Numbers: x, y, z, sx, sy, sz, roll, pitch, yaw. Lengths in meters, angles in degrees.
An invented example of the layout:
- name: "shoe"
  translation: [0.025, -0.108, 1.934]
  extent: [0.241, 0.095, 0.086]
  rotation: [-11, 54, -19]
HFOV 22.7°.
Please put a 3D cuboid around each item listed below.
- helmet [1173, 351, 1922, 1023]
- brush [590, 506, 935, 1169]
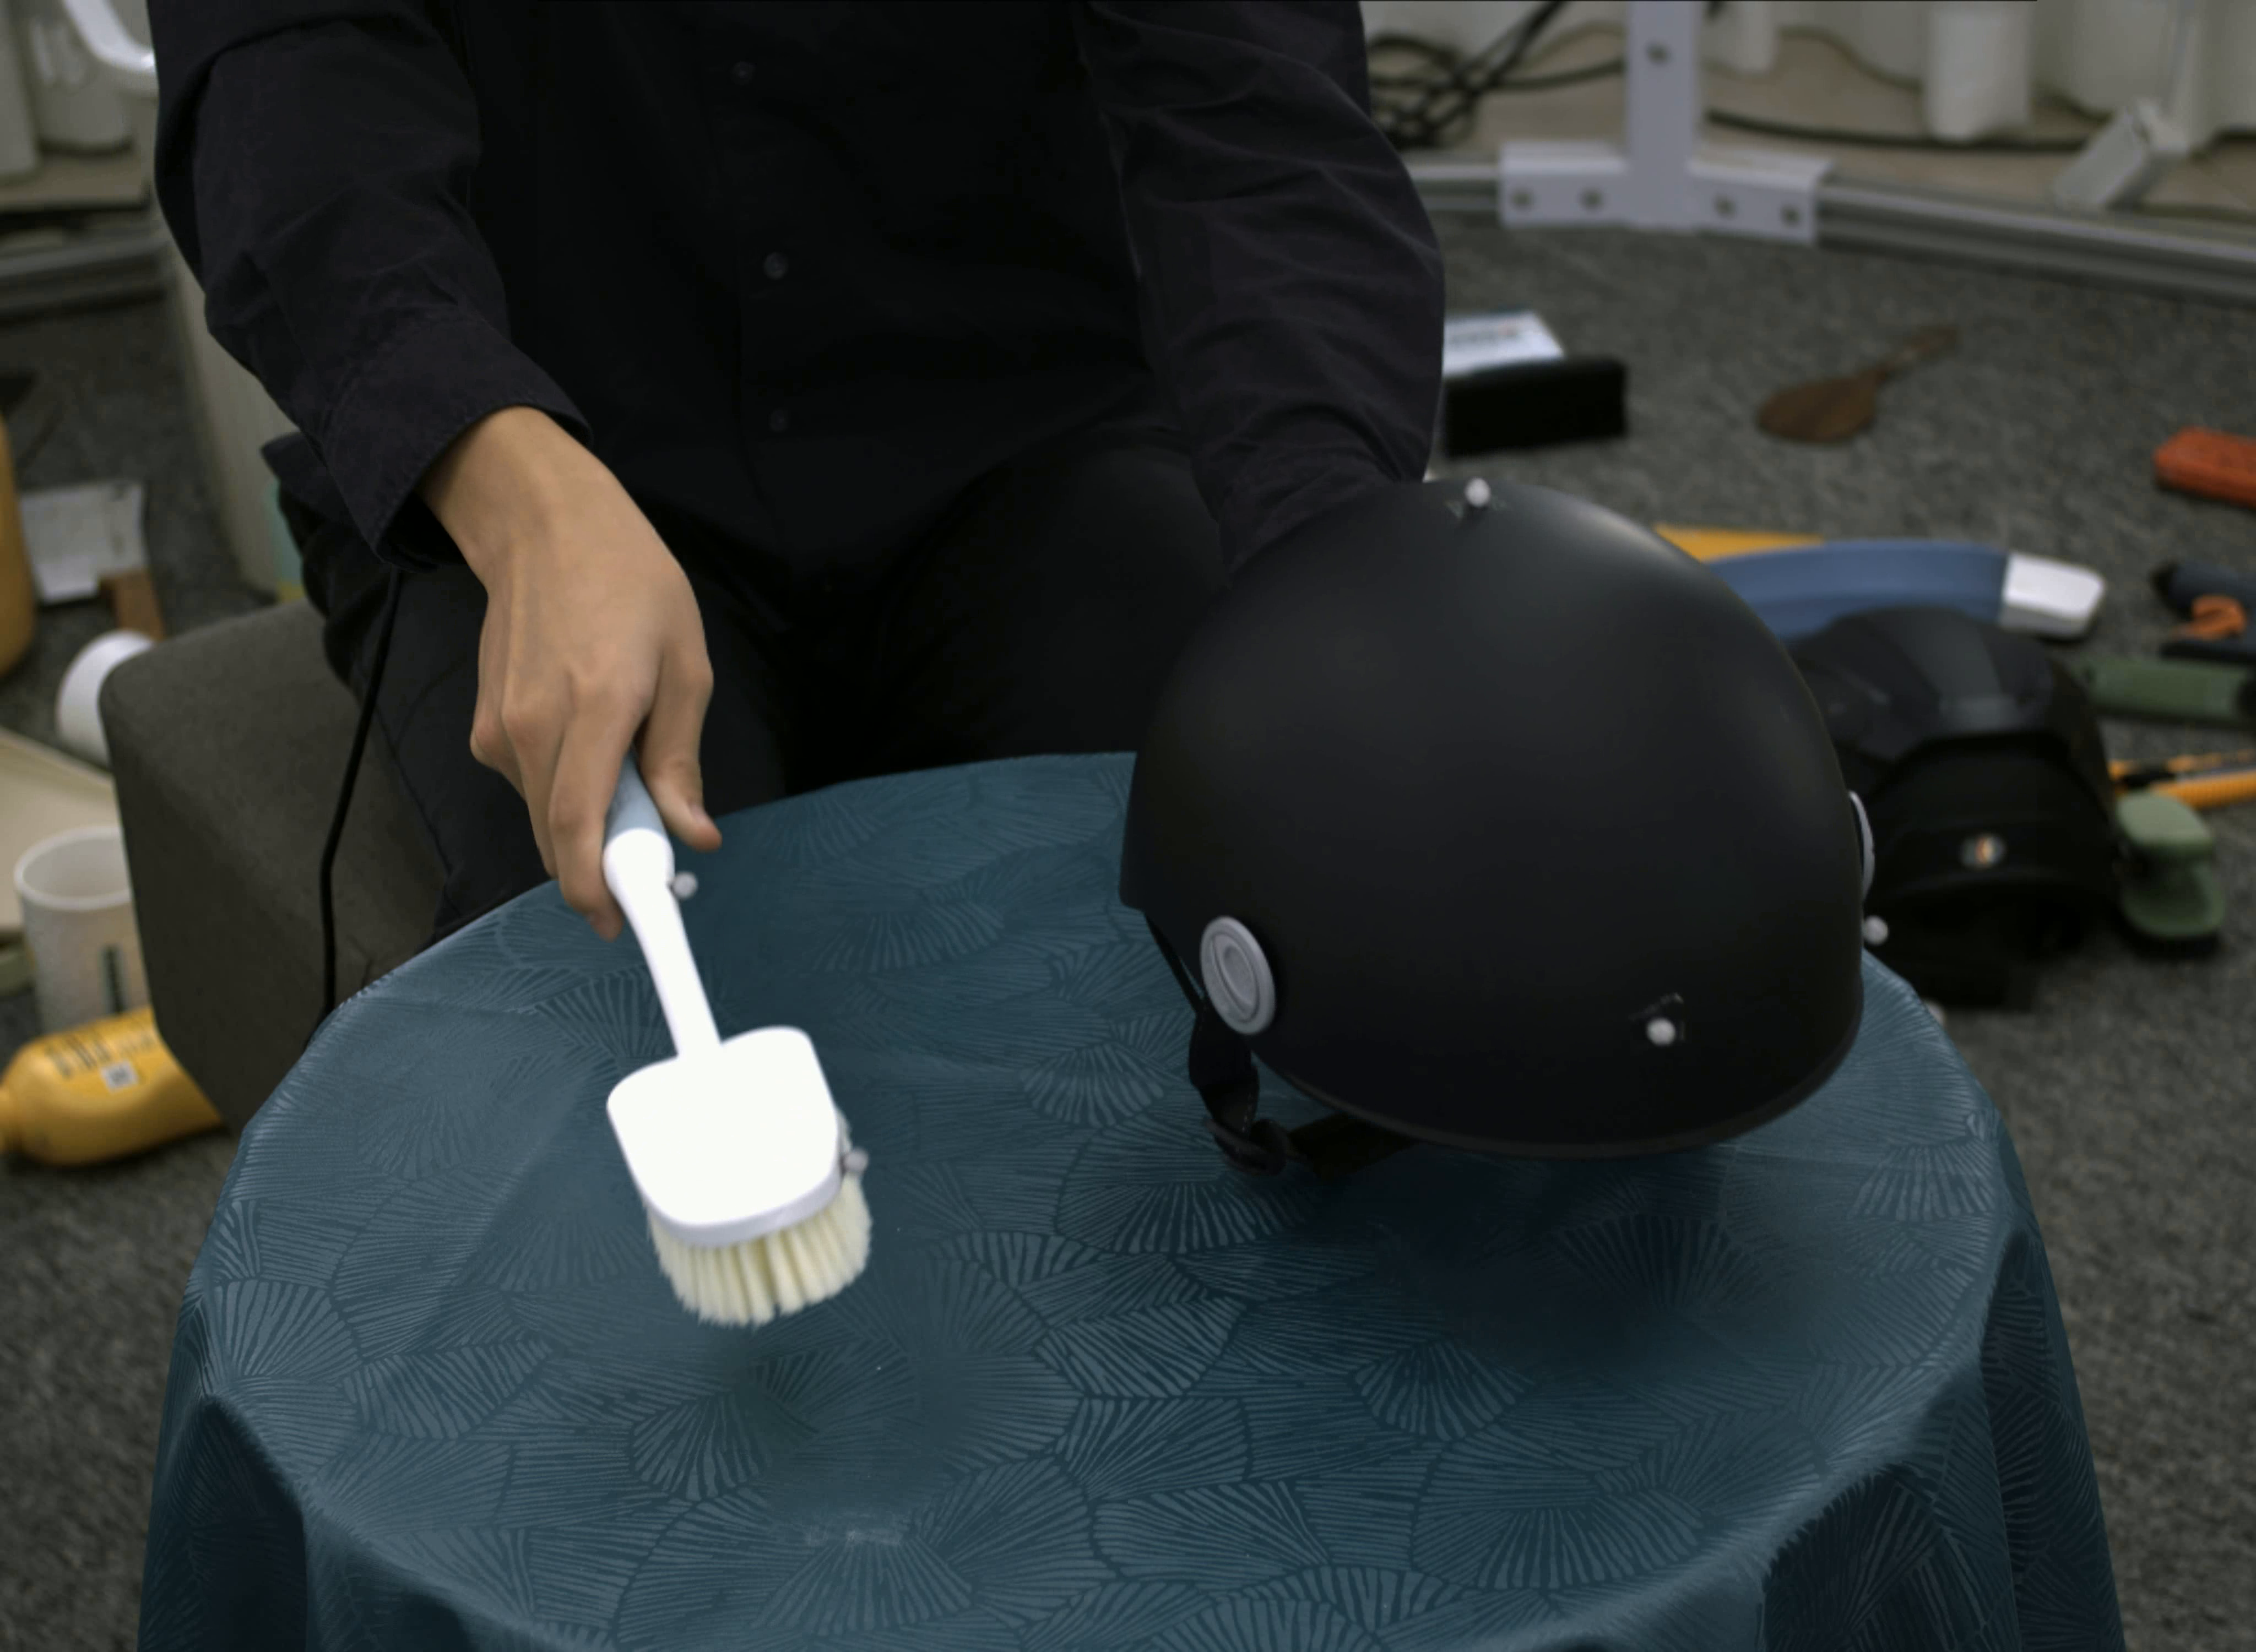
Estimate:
- name: "helmet"
  translation: [0.134, -0.060, 1.813]
  extent: [0.230, 0.165, 0.275]
  rotation: [-11, 27, -17]
- name: "brush"
  translation: [-0.121, 0.011, 1.829]
  extent: [0.083, 0.083, 0.330]
  rotation: [13, 28, -26]
